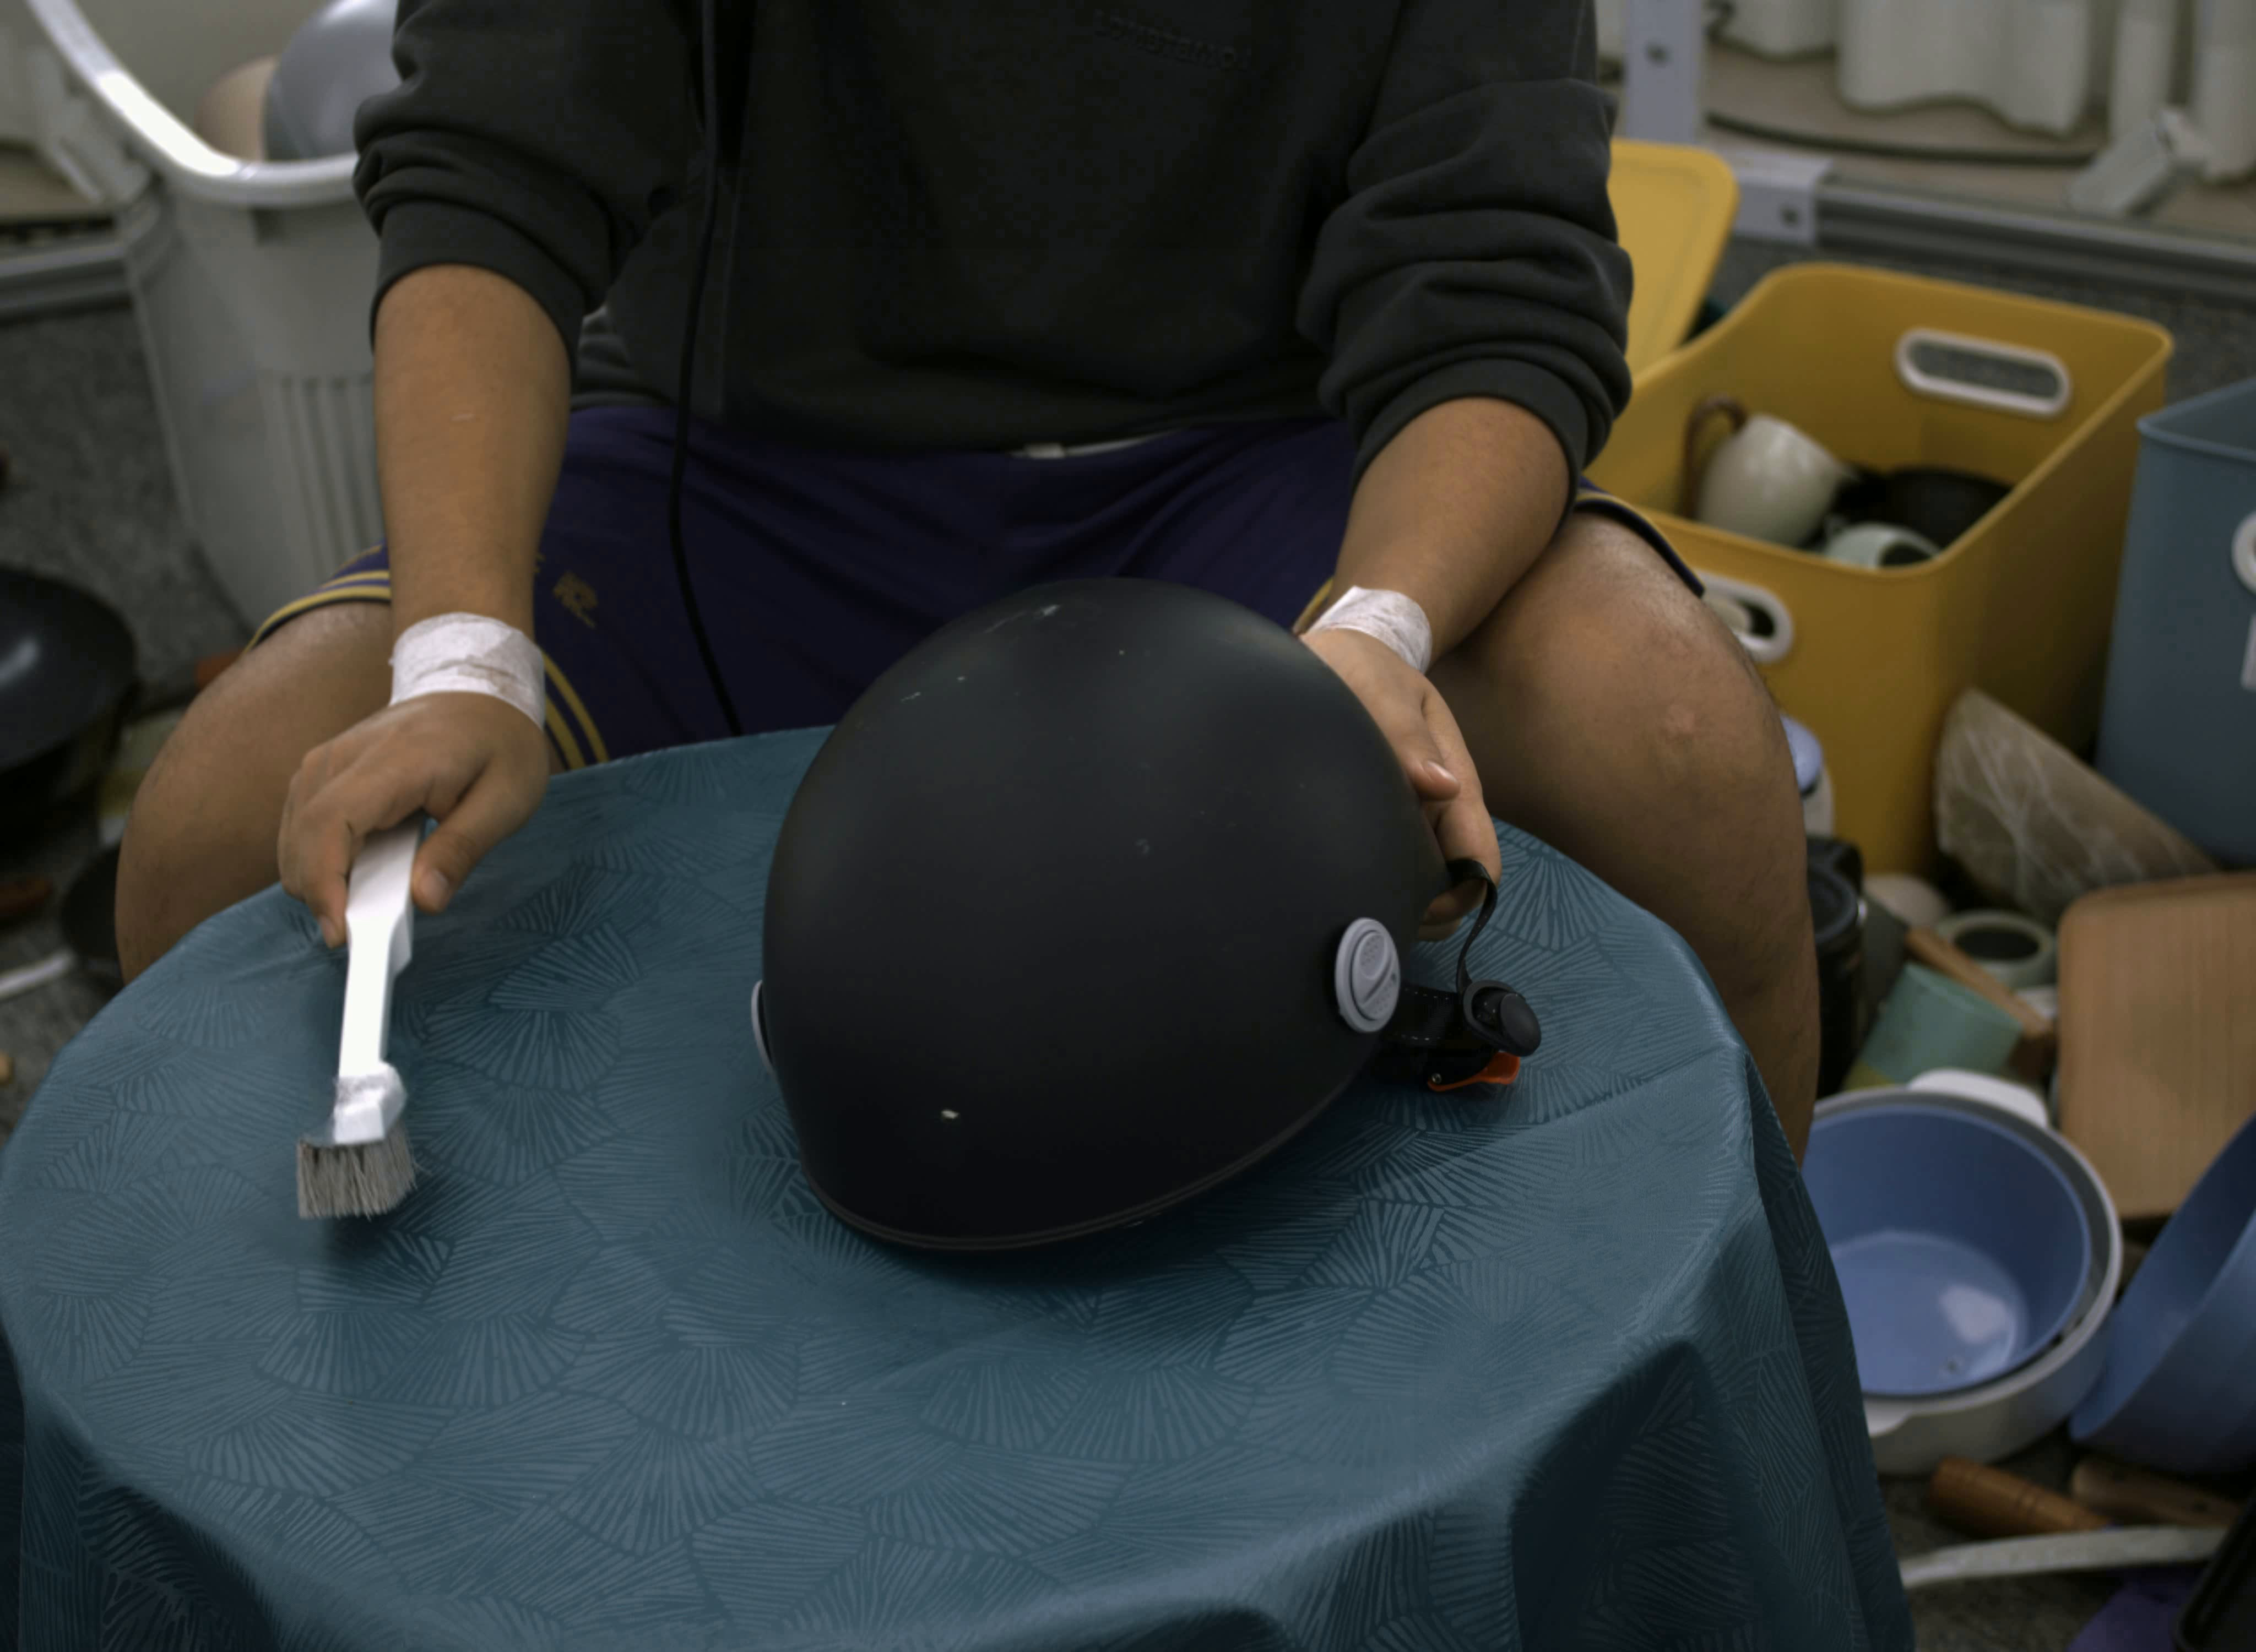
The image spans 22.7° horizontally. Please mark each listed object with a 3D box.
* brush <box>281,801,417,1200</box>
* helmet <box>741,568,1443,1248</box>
[{"bbox_3d":[-0.262,0.062,1.937,0.034,0.050,0.247,-7,25,1],"label":"brush"},{"bbox_3d":[-0.022,0.010,1.891,0.227,0.165,0.278,-7,25,26],"label":"helmet"}]
